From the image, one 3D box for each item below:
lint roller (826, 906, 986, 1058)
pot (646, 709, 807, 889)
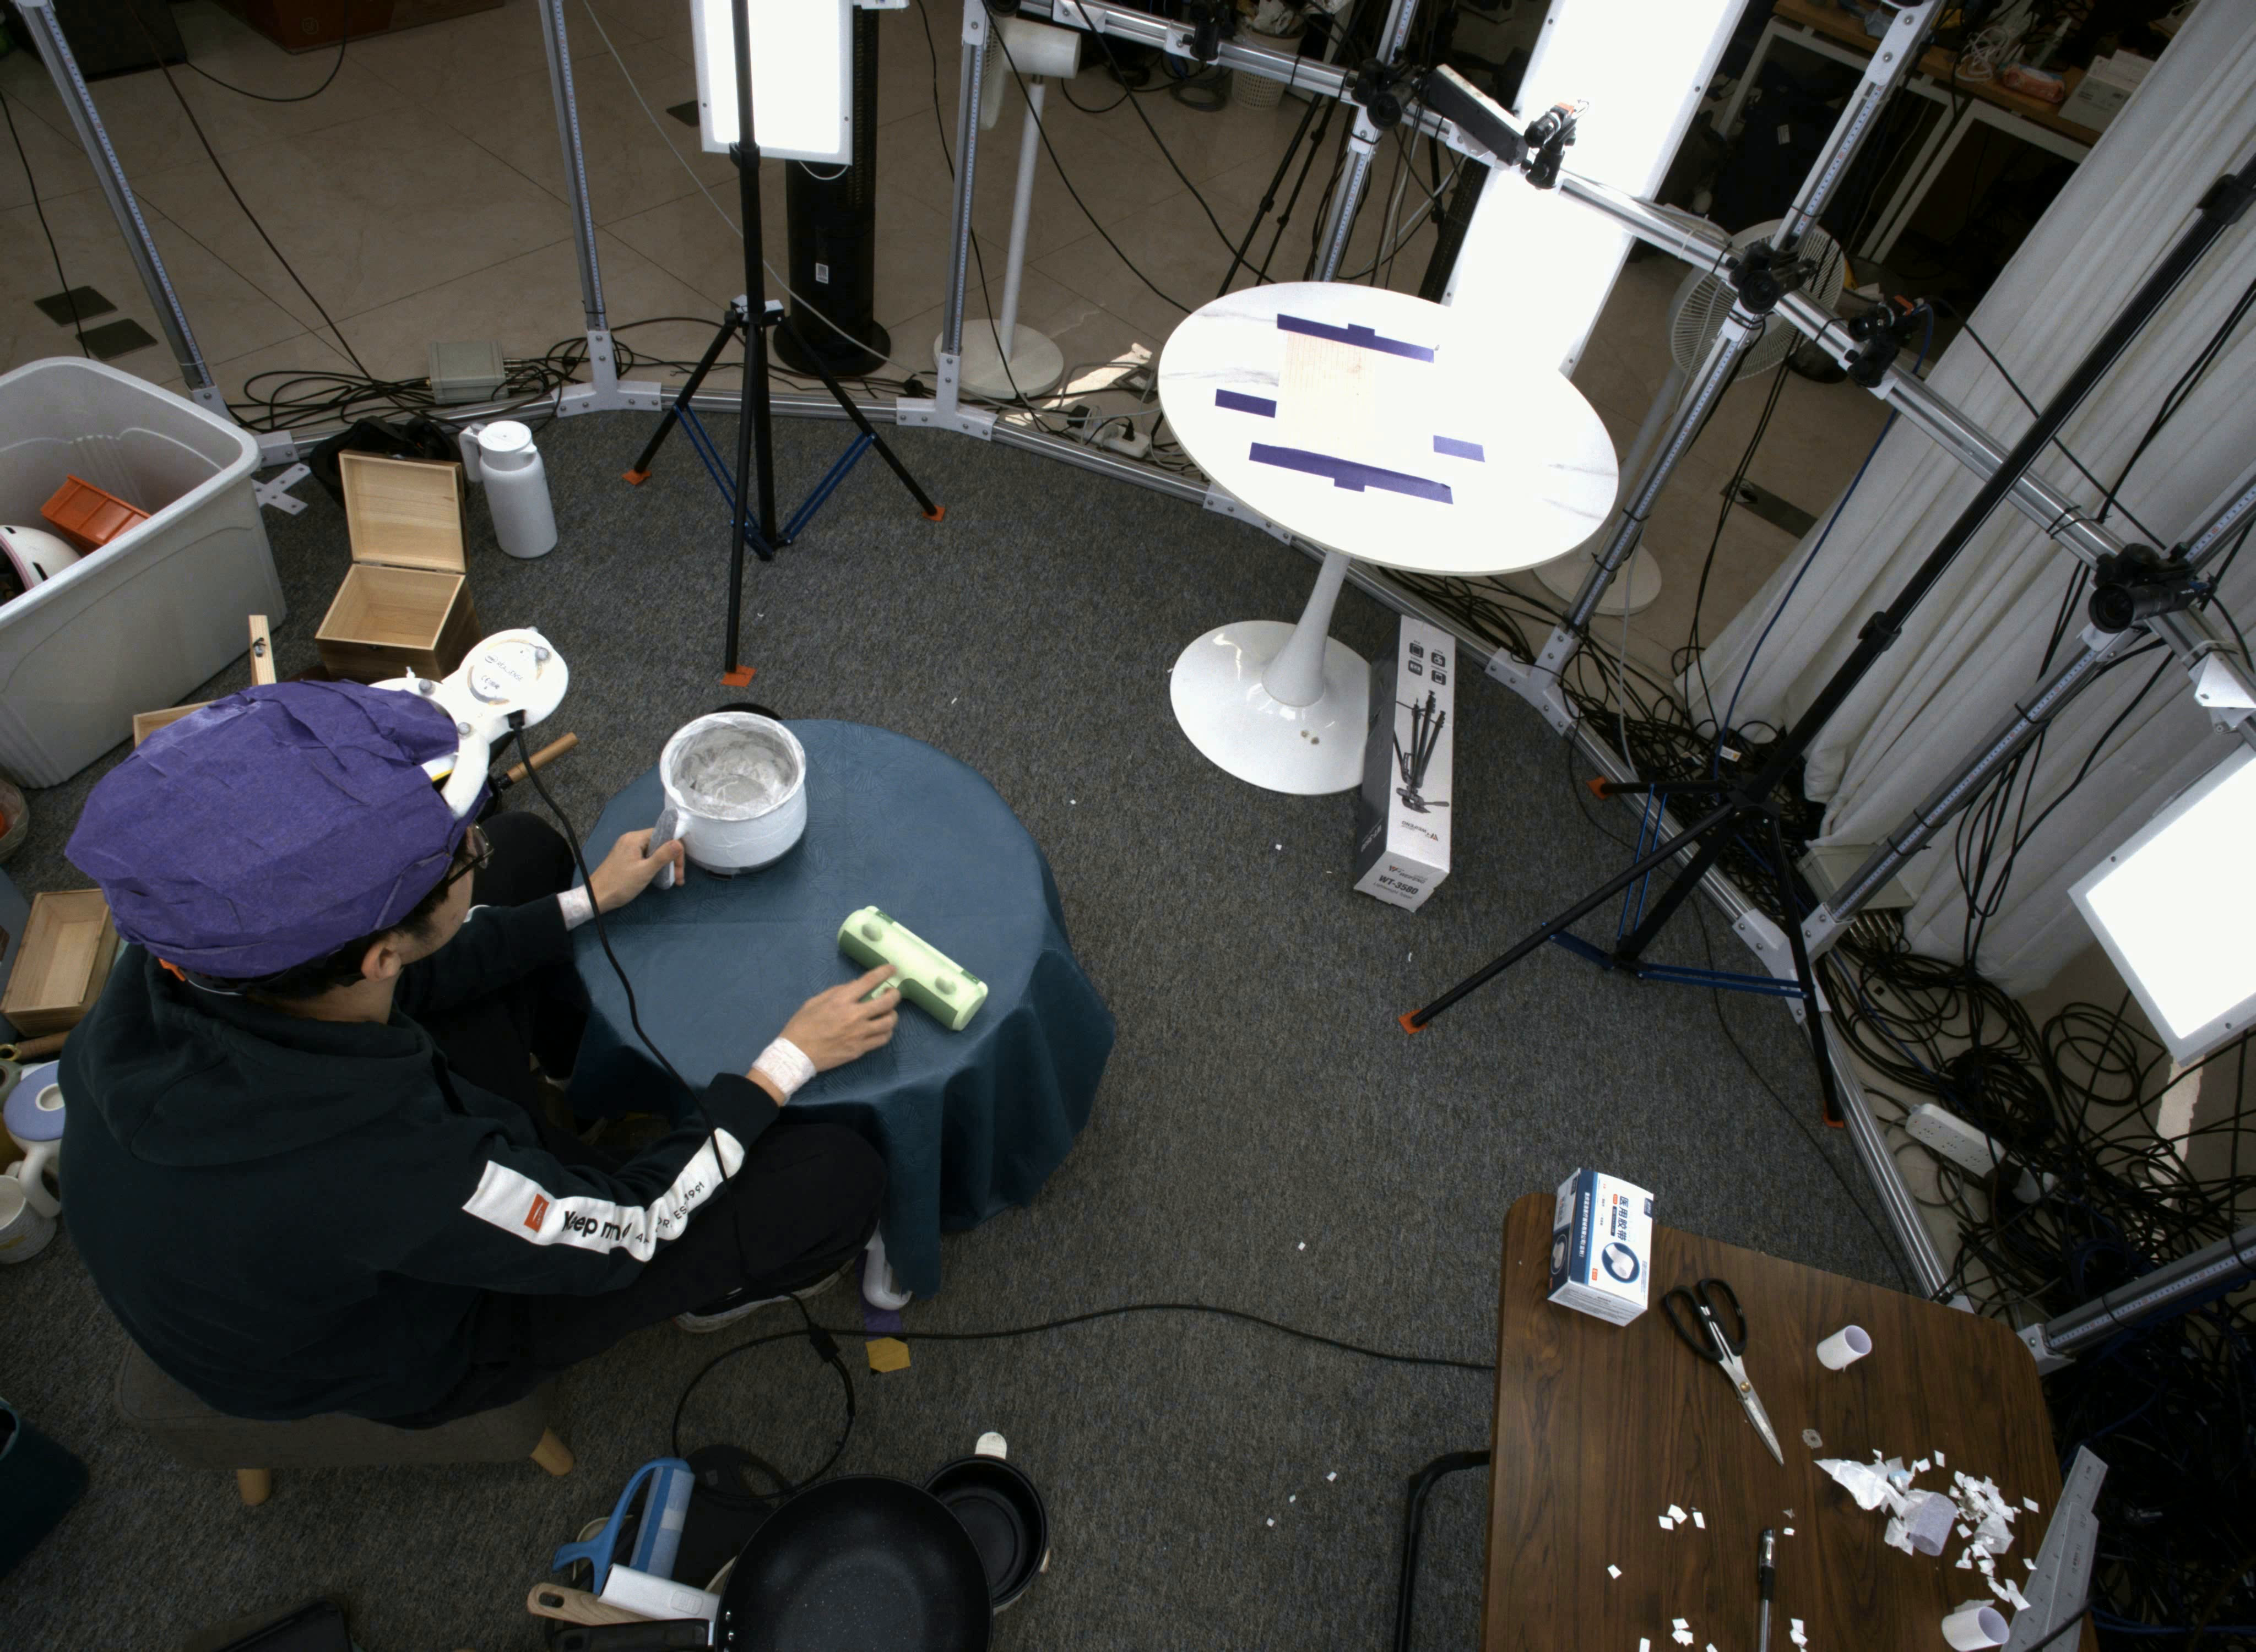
[{"bbox_3d":[-0.299,0.198,1.568,0.195,0.084,0.183,34,48,11],"label":"lint roller"},{"bbox_3d":[-0.517,-0.024,1.635,0.175,0.139,0.233,33,53,12],"label":"pot"}]
